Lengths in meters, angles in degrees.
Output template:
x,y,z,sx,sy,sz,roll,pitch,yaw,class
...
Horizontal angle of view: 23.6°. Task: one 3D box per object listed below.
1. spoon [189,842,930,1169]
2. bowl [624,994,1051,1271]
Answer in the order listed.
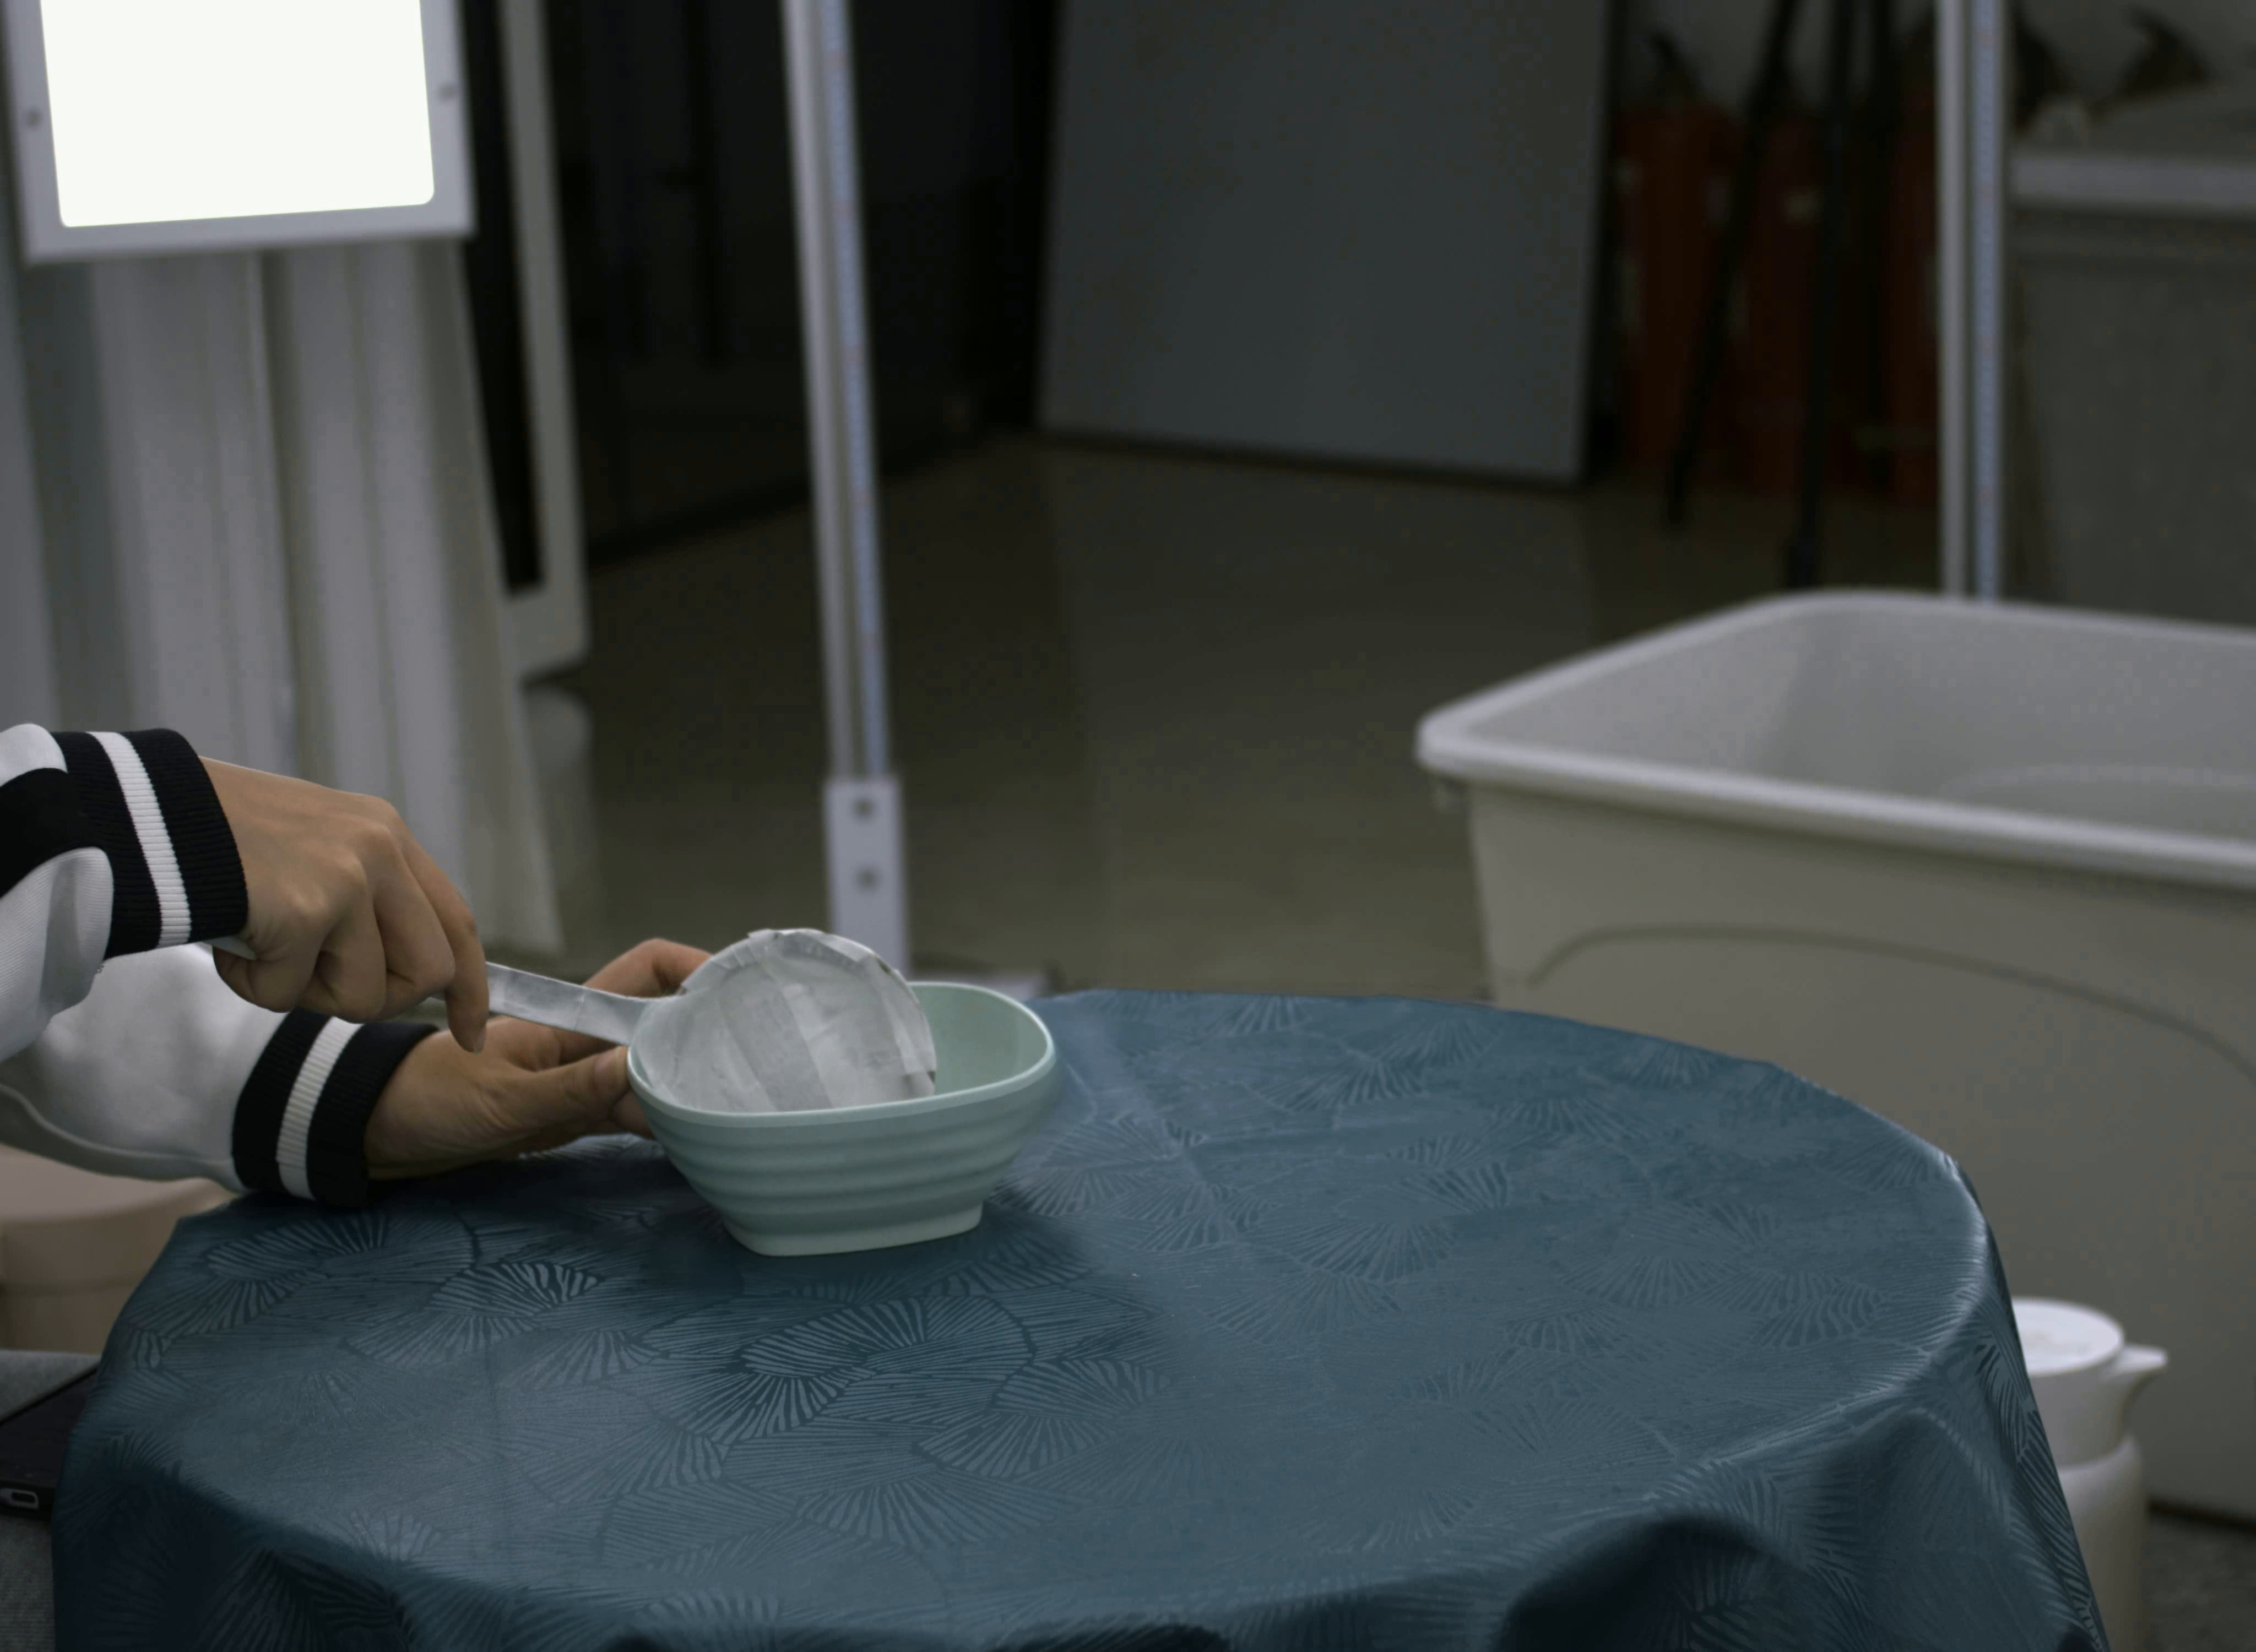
x,y,z,sx,sy,sz,roll,pitch,yaw,class
-0.170,0.048,1.676,0.060,0.101,0.272,13,-7,43,spoon
-0.093,0.103,1.763,0.149,0.059,0.152,-4,14,0,bowl
